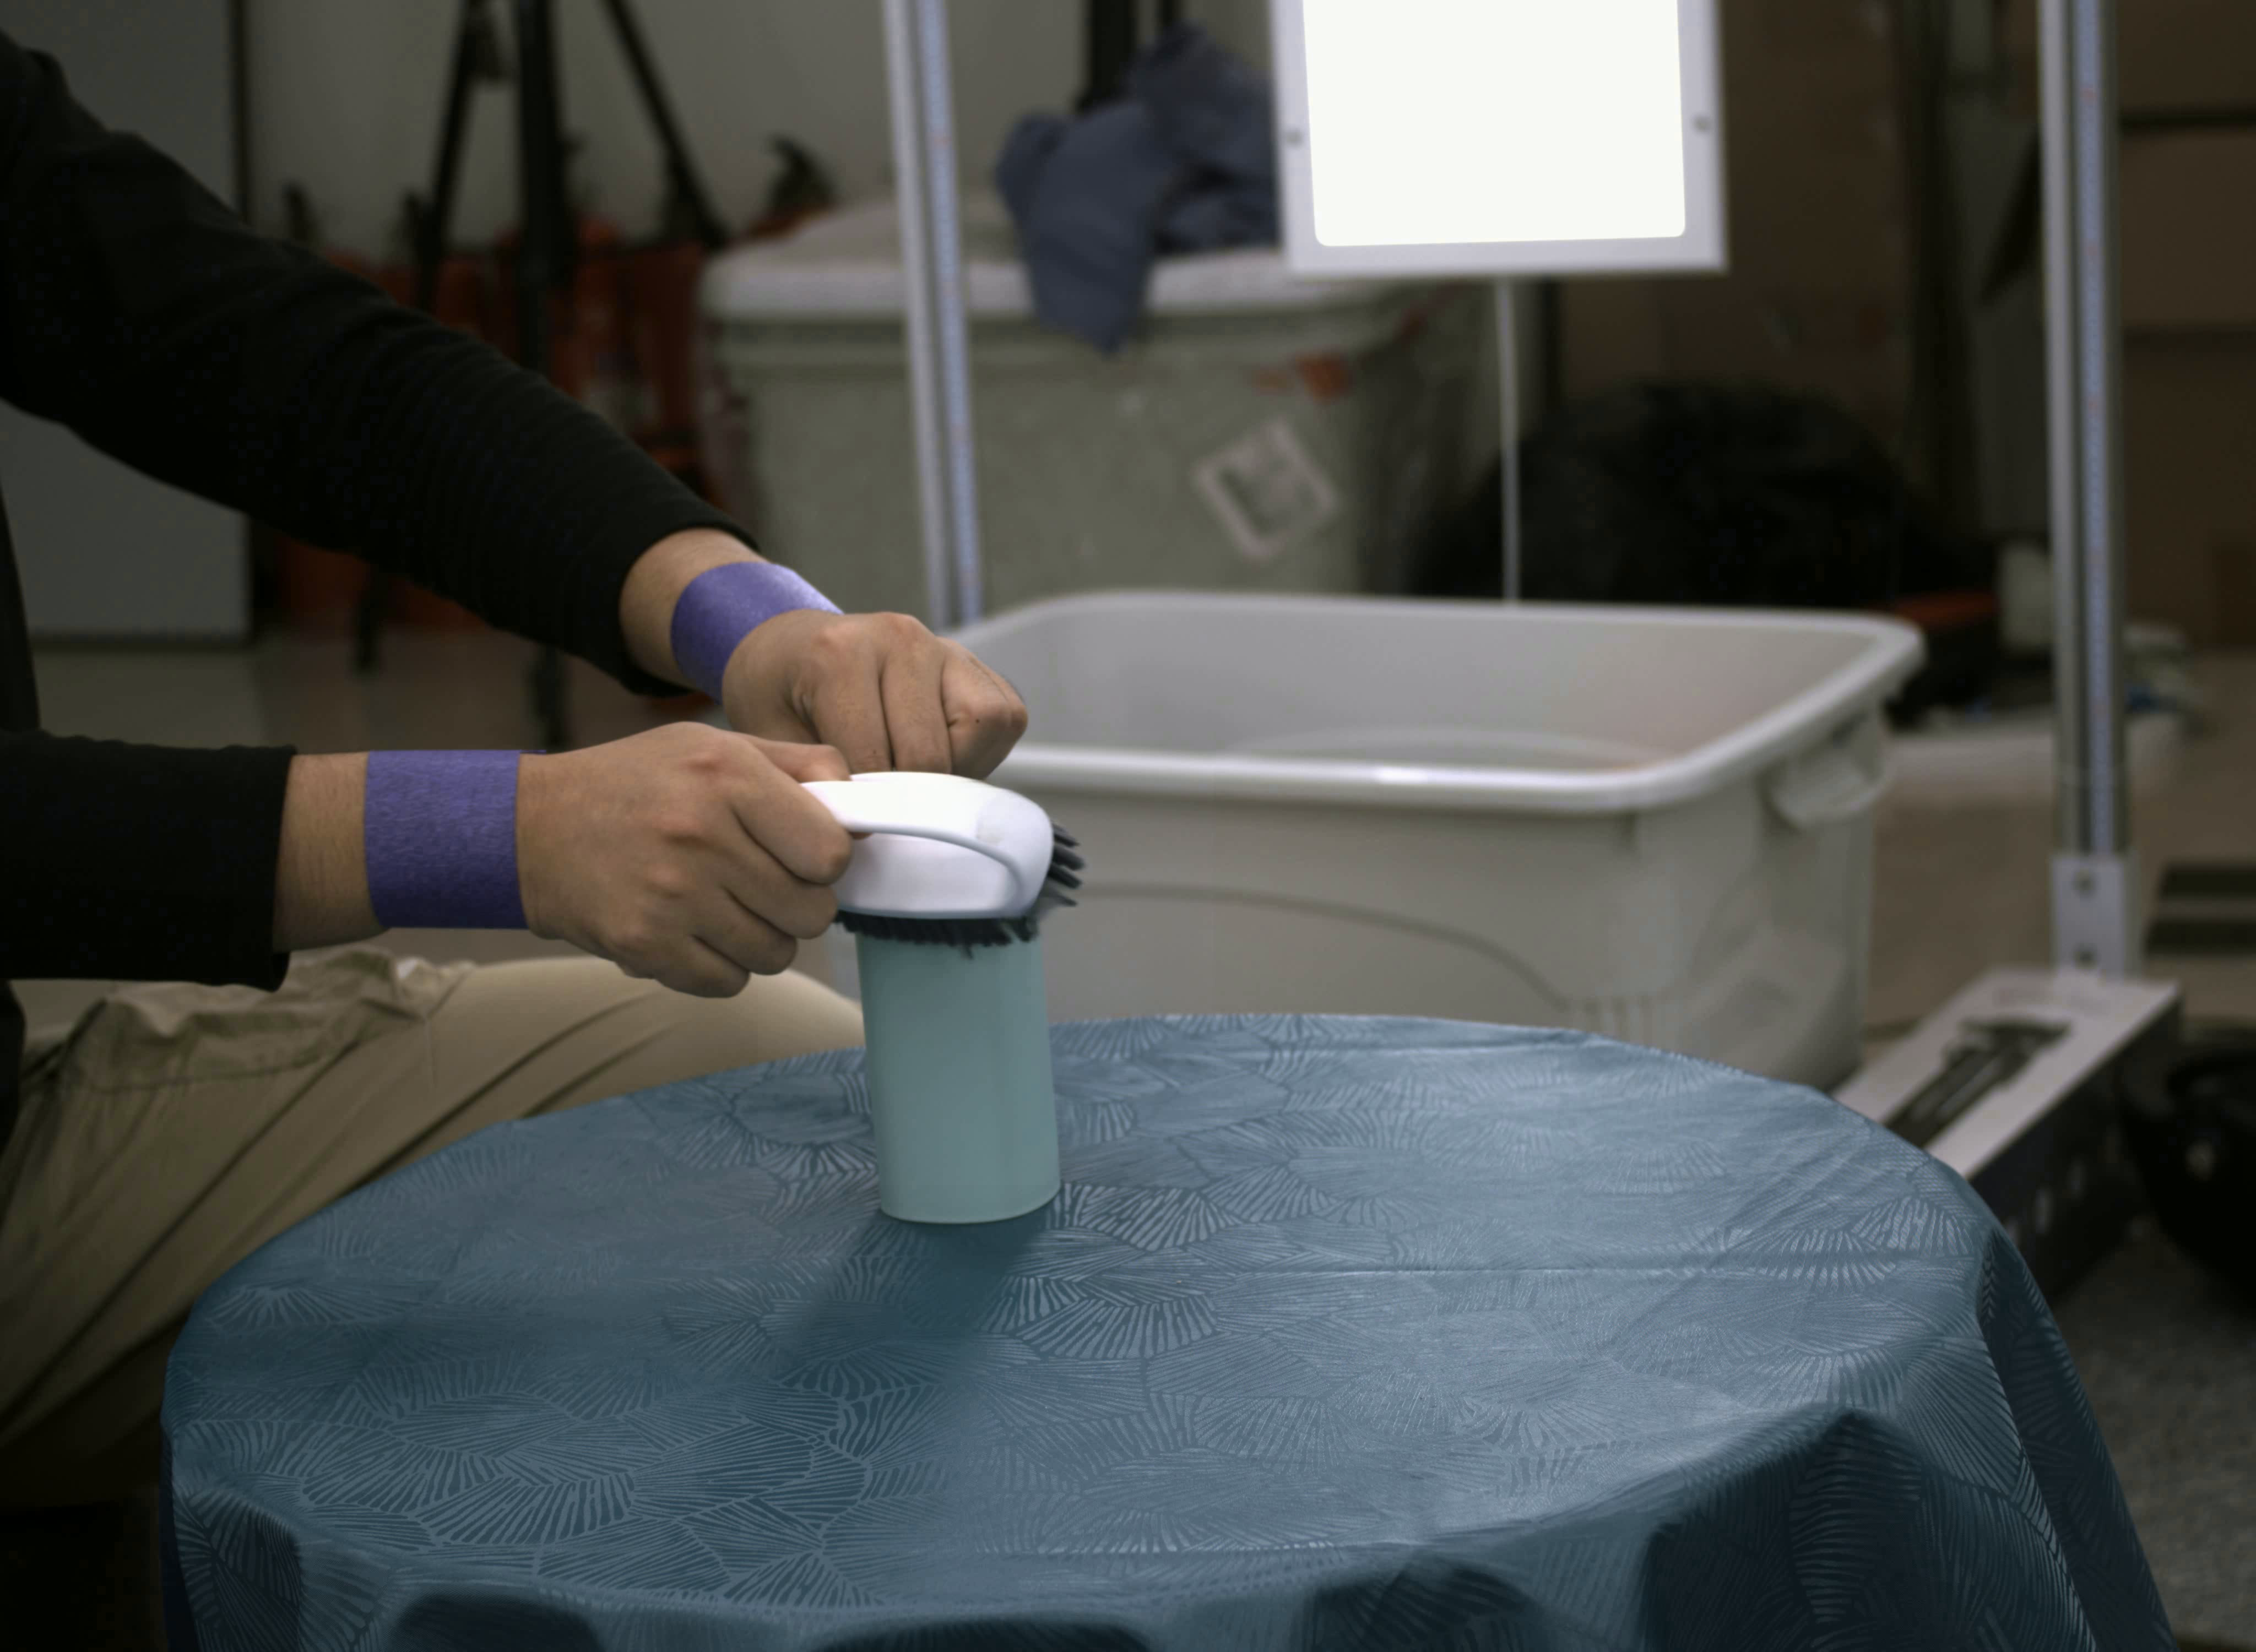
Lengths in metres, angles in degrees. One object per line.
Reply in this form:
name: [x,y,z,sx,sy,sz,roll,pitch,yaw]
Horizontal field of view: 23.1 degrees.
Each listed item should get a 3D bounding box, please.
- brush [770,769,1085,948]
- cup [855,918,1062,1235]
brush: [-0.072,0.005,1.816,0.101,0.050,0.071,6,-17,26]
cup: [-0.059,0.068,1.894,0.066,0.133,0.066,-4,14,0]
